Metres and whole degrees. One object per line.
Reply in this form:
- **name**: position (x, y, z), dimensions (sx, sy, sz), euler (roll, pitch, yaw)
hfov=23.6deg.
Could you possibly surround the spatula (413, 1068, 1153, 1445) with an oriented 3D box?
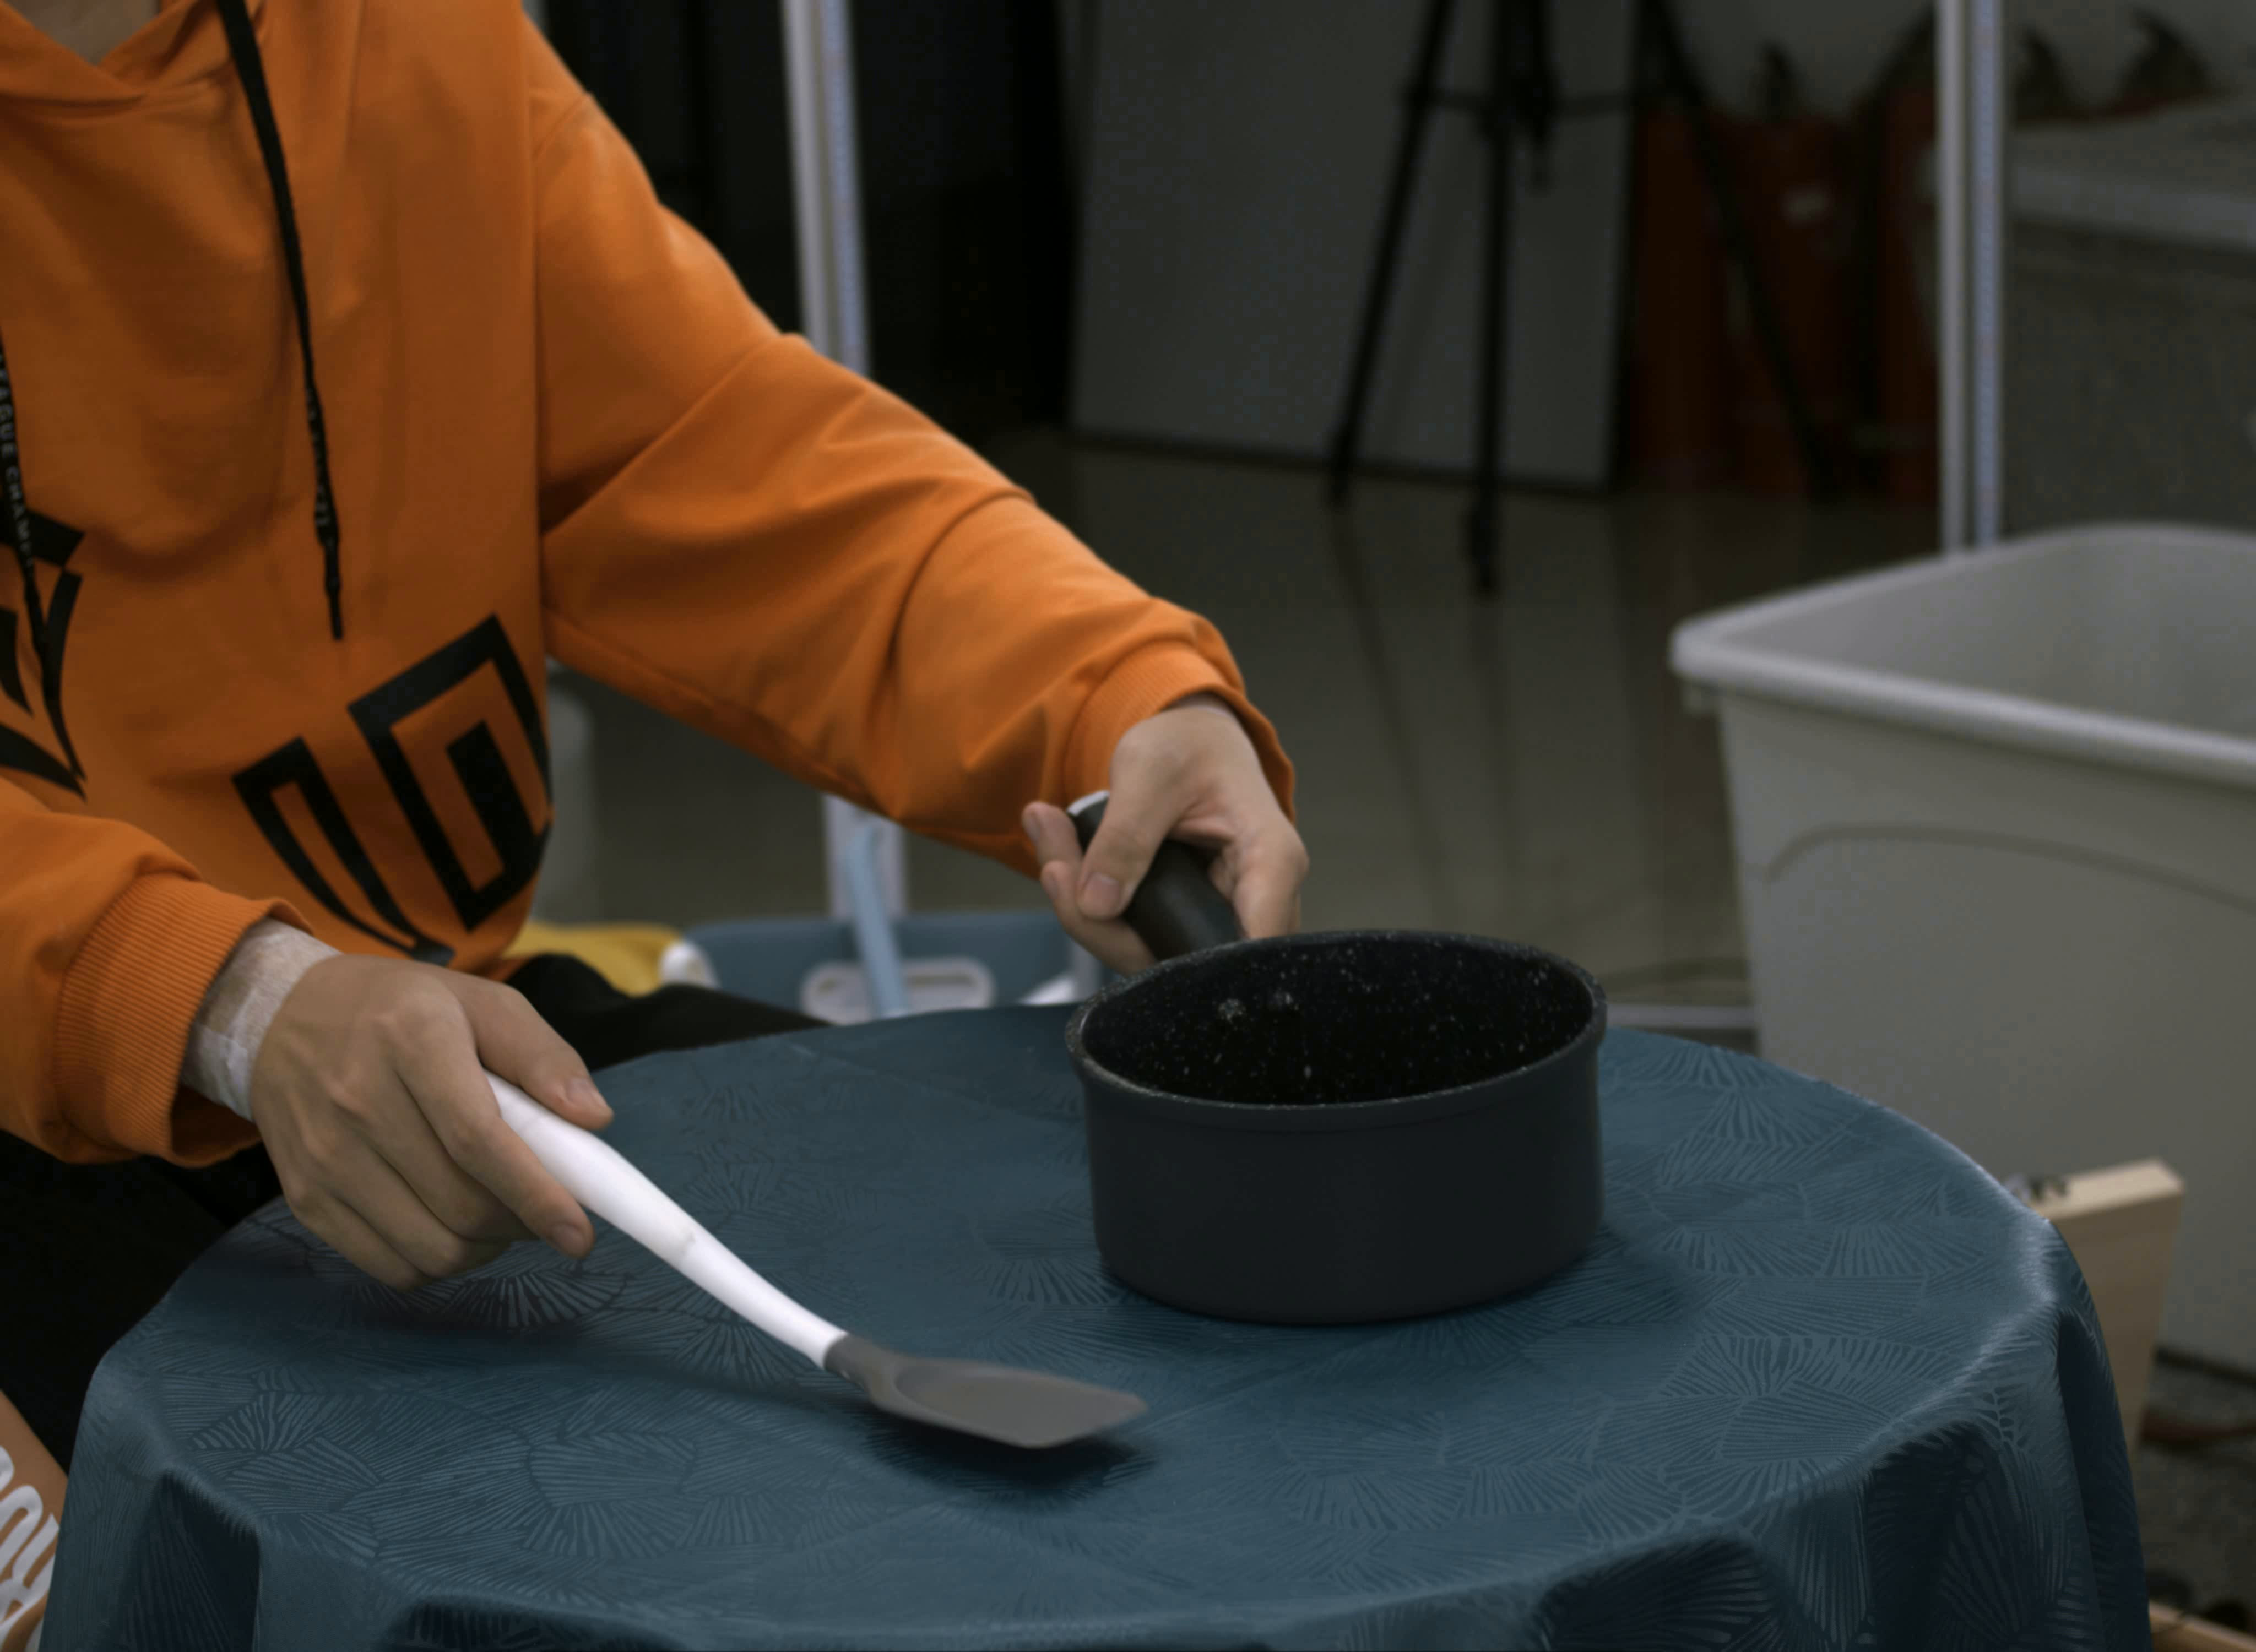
- **spatula**: position (-0.110, 0.133, 1.608), dimensions (0.290, 0.032, 0.057), euler (22, 19, 40)

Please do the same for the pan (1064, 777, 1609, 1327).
- **pan**: position (0.046, 0.069, 1.765), dimensions (0.169, 0.087, 0.331), euler (-9, 18, -13)
